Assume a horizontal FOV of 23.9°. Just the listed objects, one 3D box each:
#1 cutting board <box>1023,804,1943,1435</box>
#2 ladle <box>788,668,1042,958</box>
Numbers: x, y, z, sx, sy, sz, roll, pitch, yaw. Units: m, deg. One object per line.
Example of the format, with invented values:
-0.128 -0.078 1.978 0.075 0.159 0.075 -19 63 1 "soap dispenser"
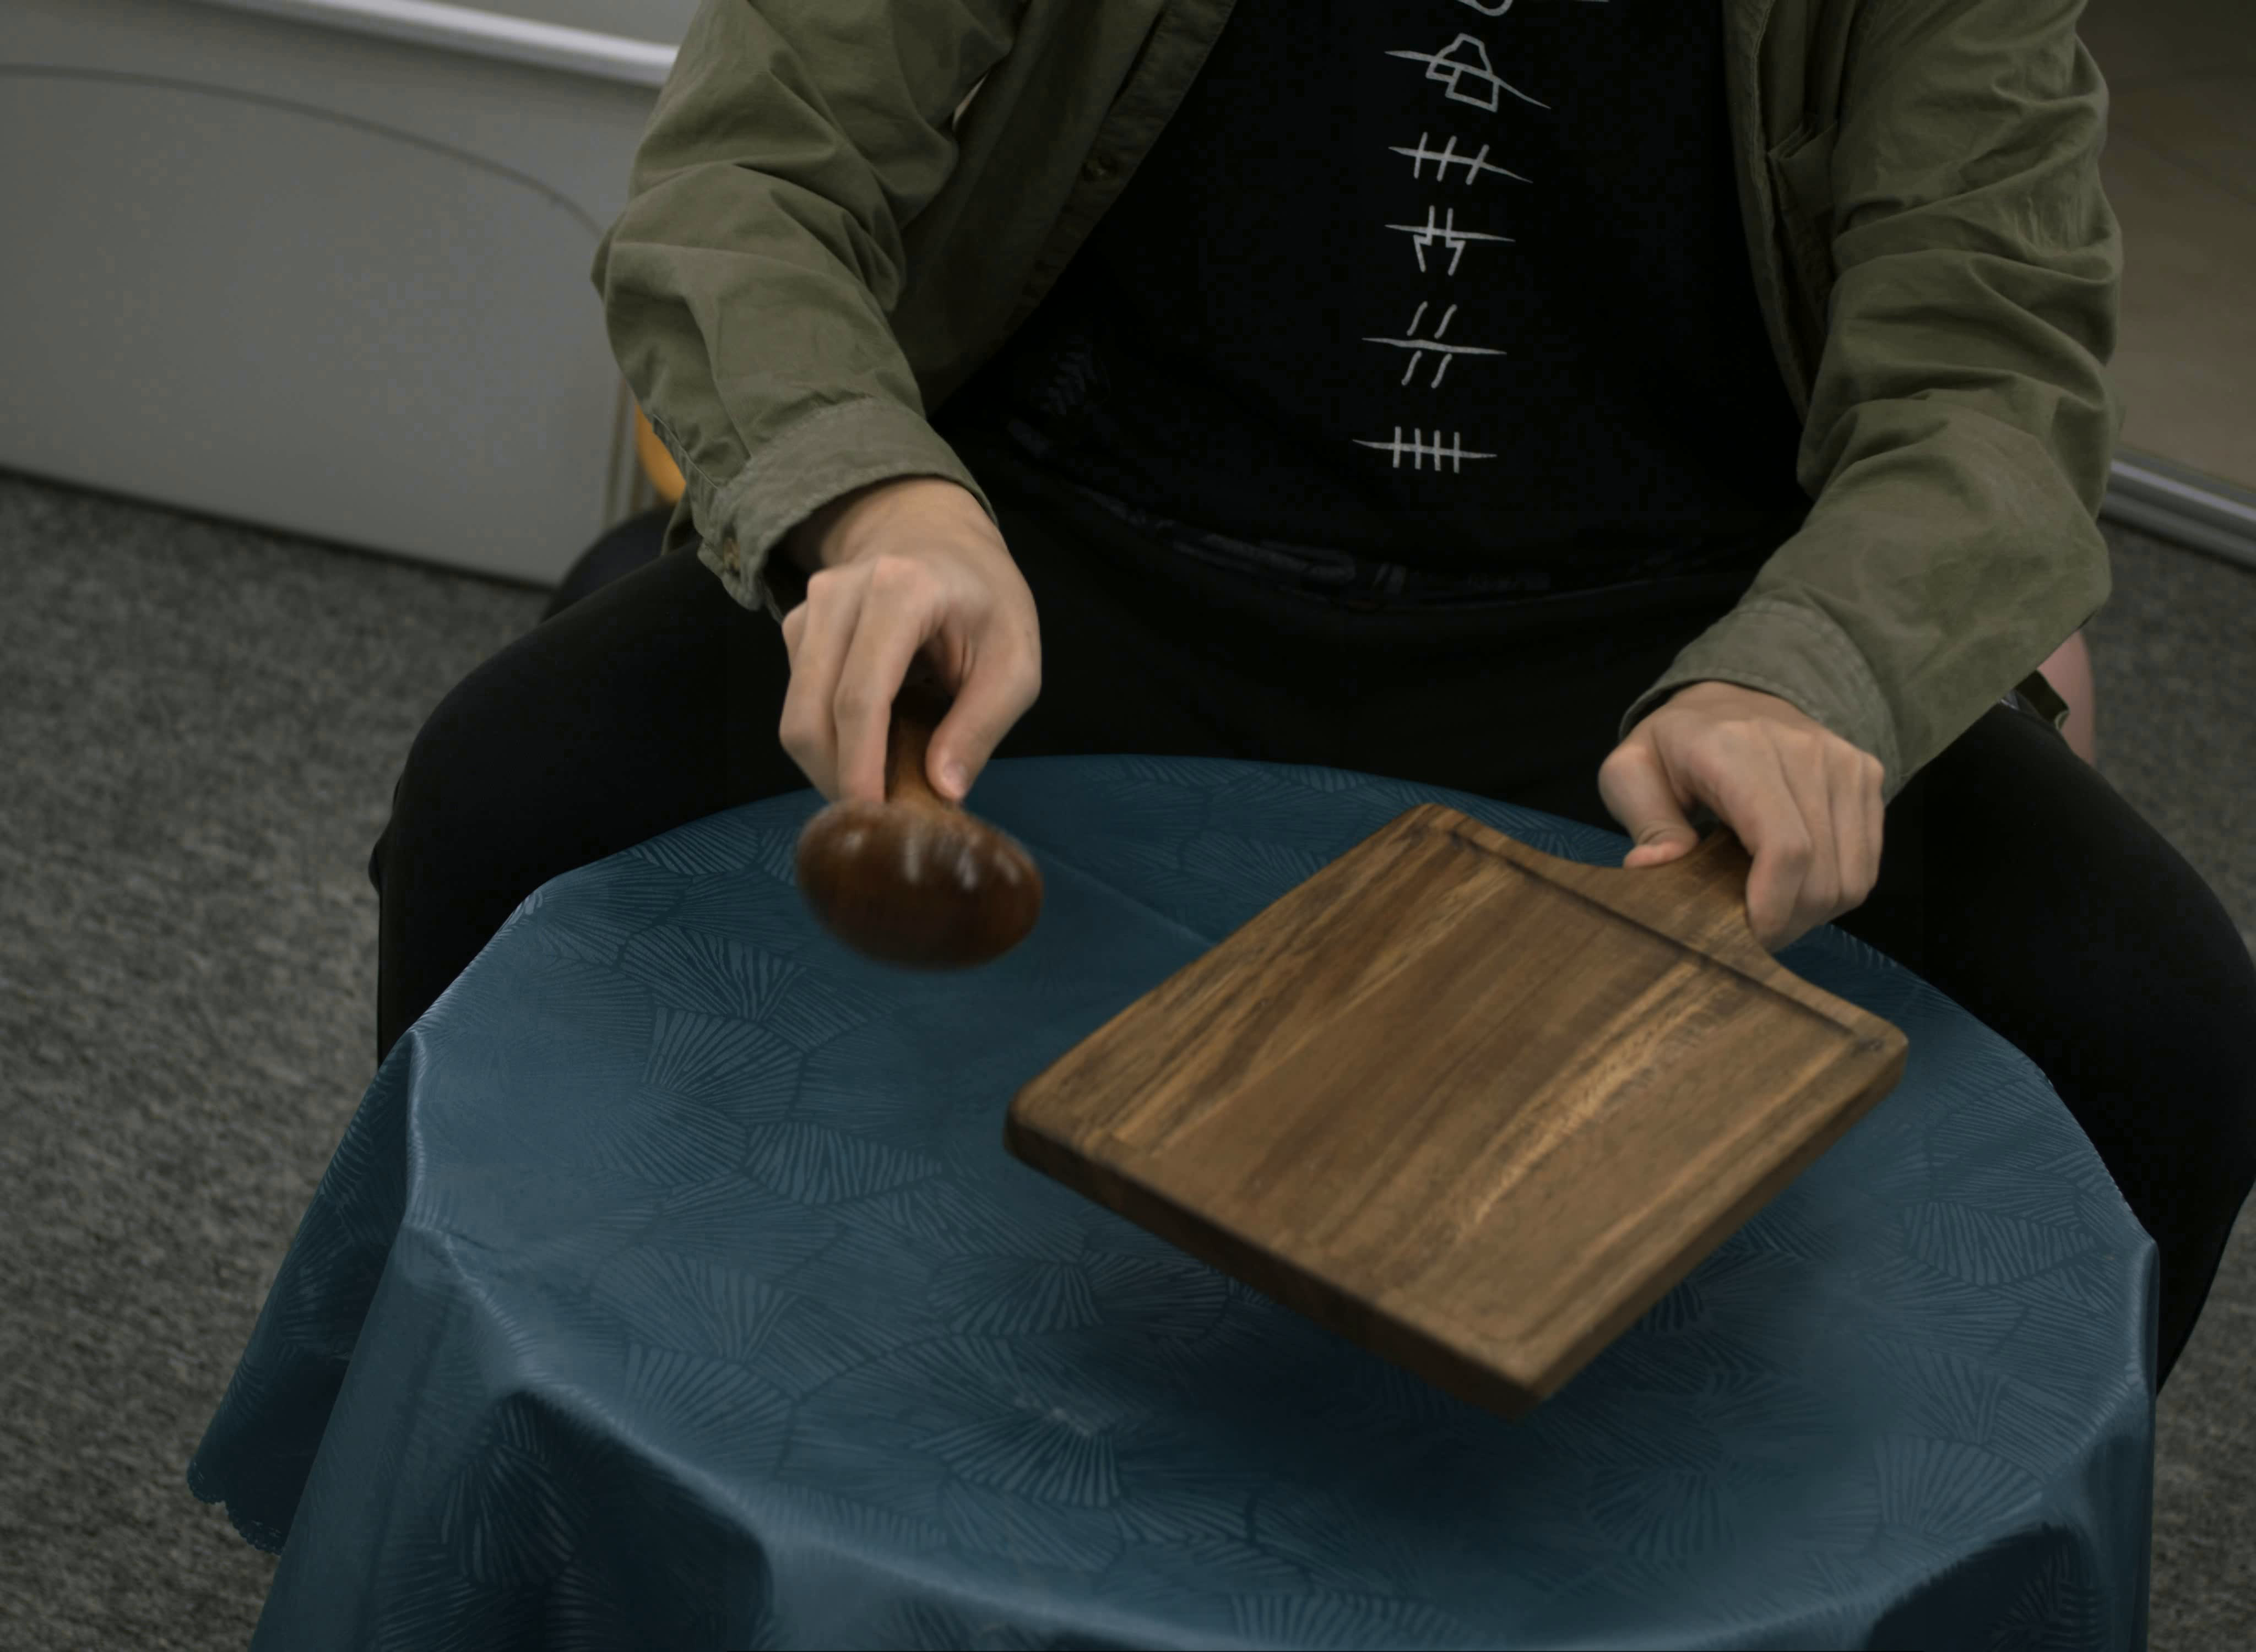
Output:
0.146 0.070 1.725 0.202 0.023 0.351 27 37 27 "cutting board"
-0.067 -0.027 1.767 0.081 0.076 0.275 22 21 -8 "ladle"
